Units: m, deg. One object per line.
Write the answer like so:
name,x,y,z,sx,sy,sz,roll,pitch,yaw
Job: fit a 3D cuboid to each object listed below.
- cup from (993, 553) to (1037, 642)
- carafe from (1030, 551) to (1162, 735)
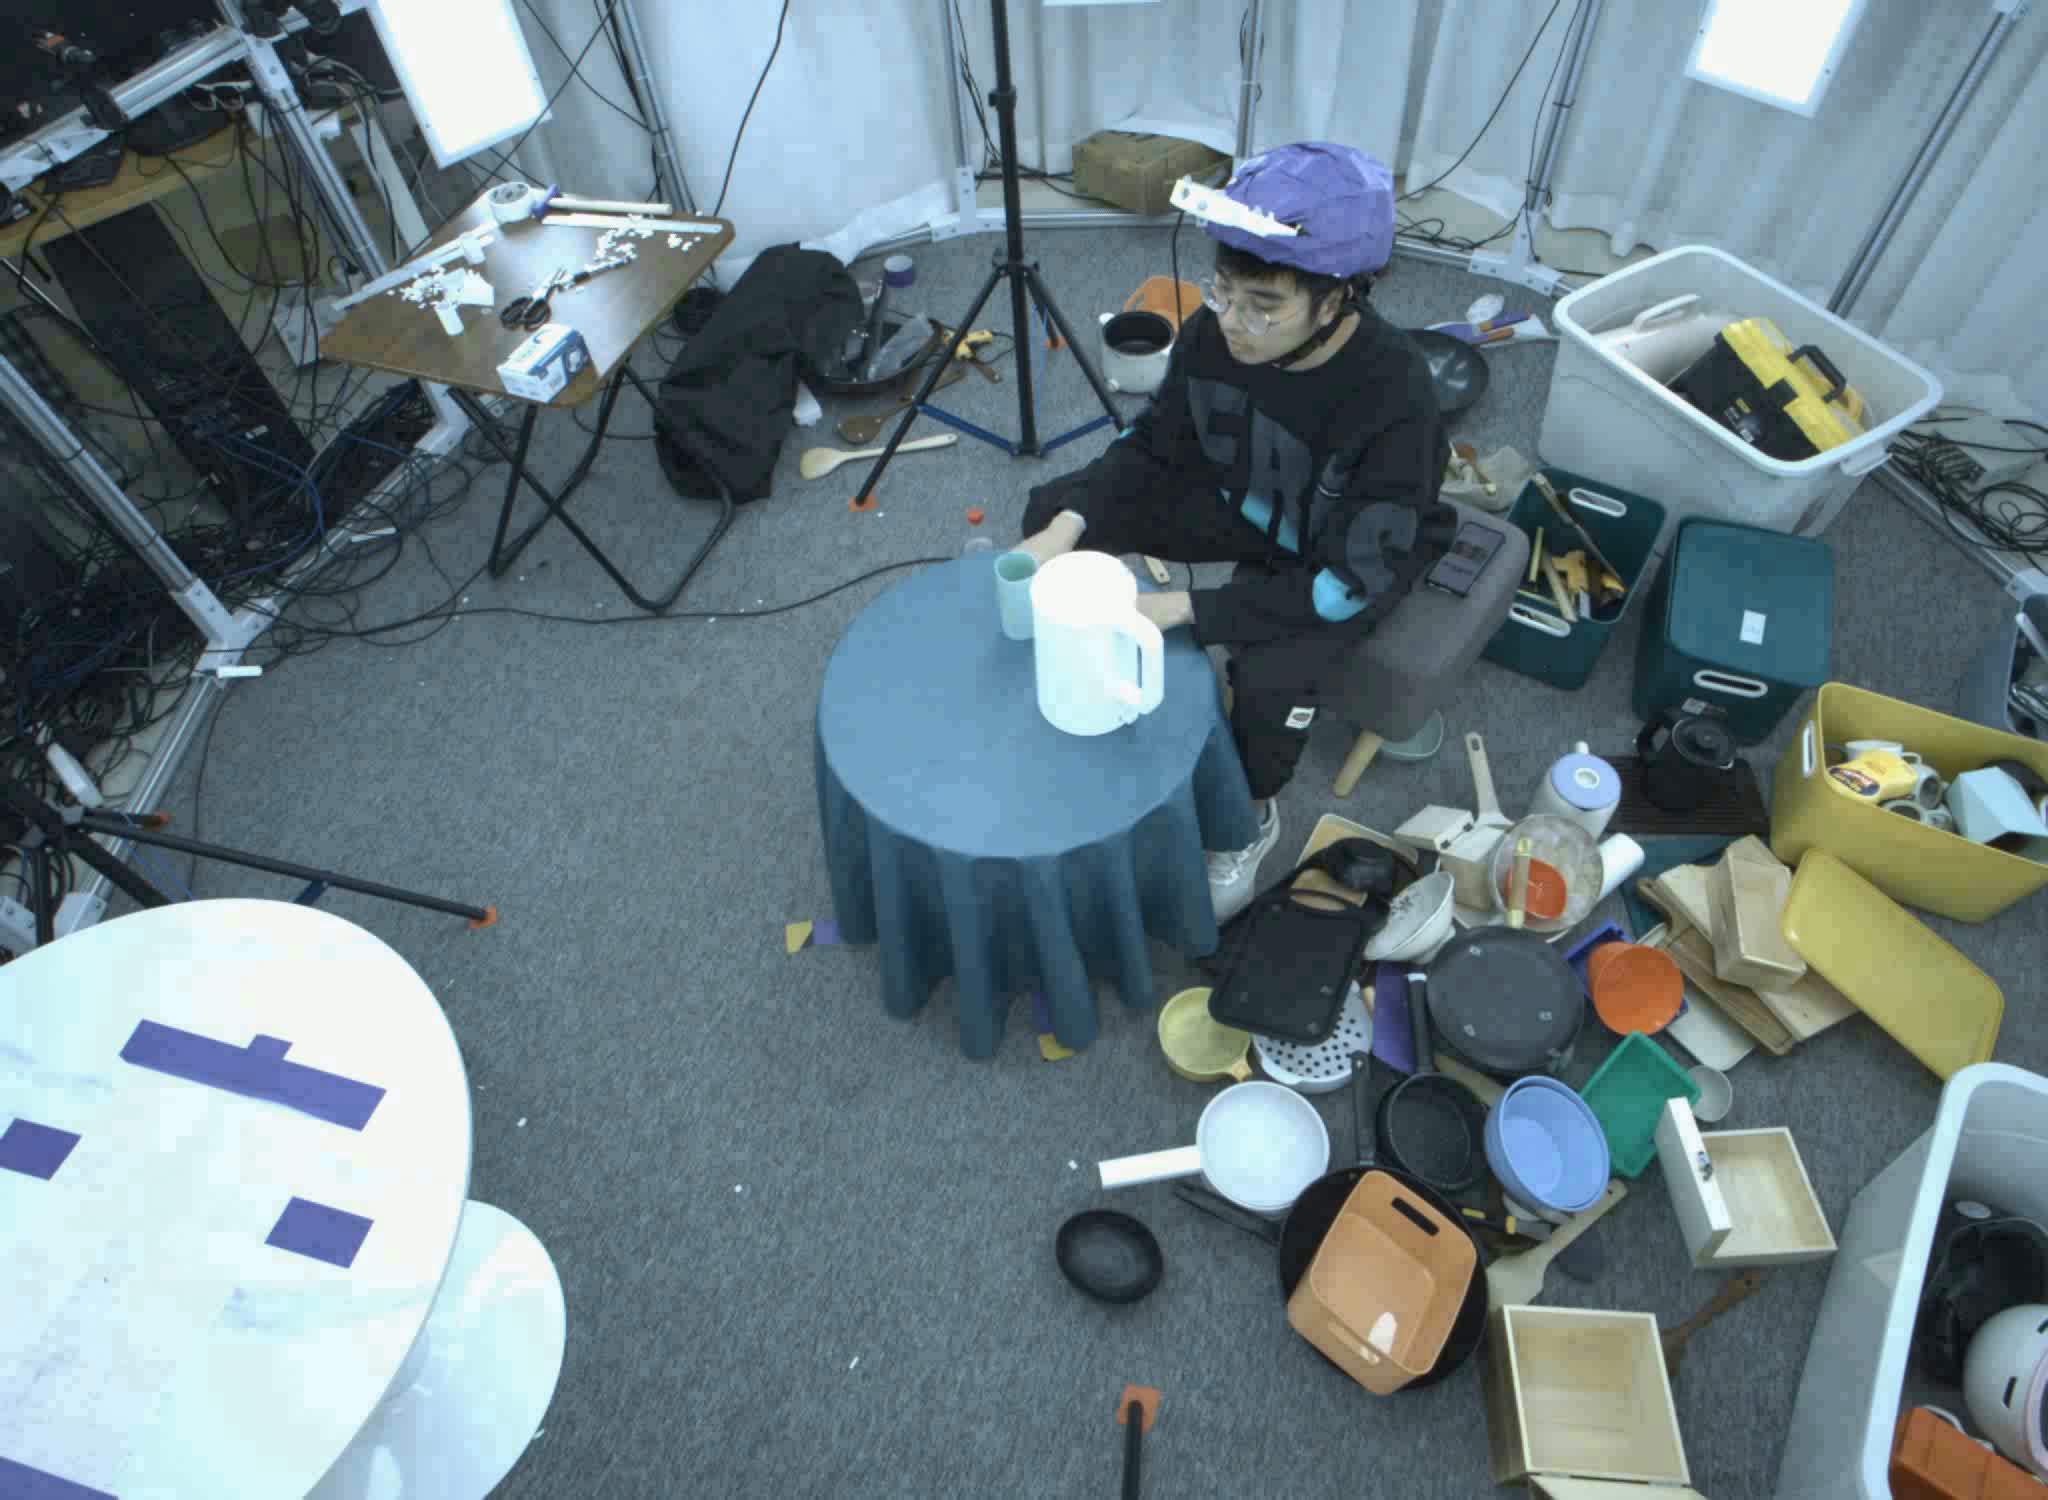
cup,-0.008,-0.232,1.871,0.066,0.134,0.066,-2,54,4
carafe,0.104,-0.135,1.732,0.209,0.243,0.153,37,66,26
